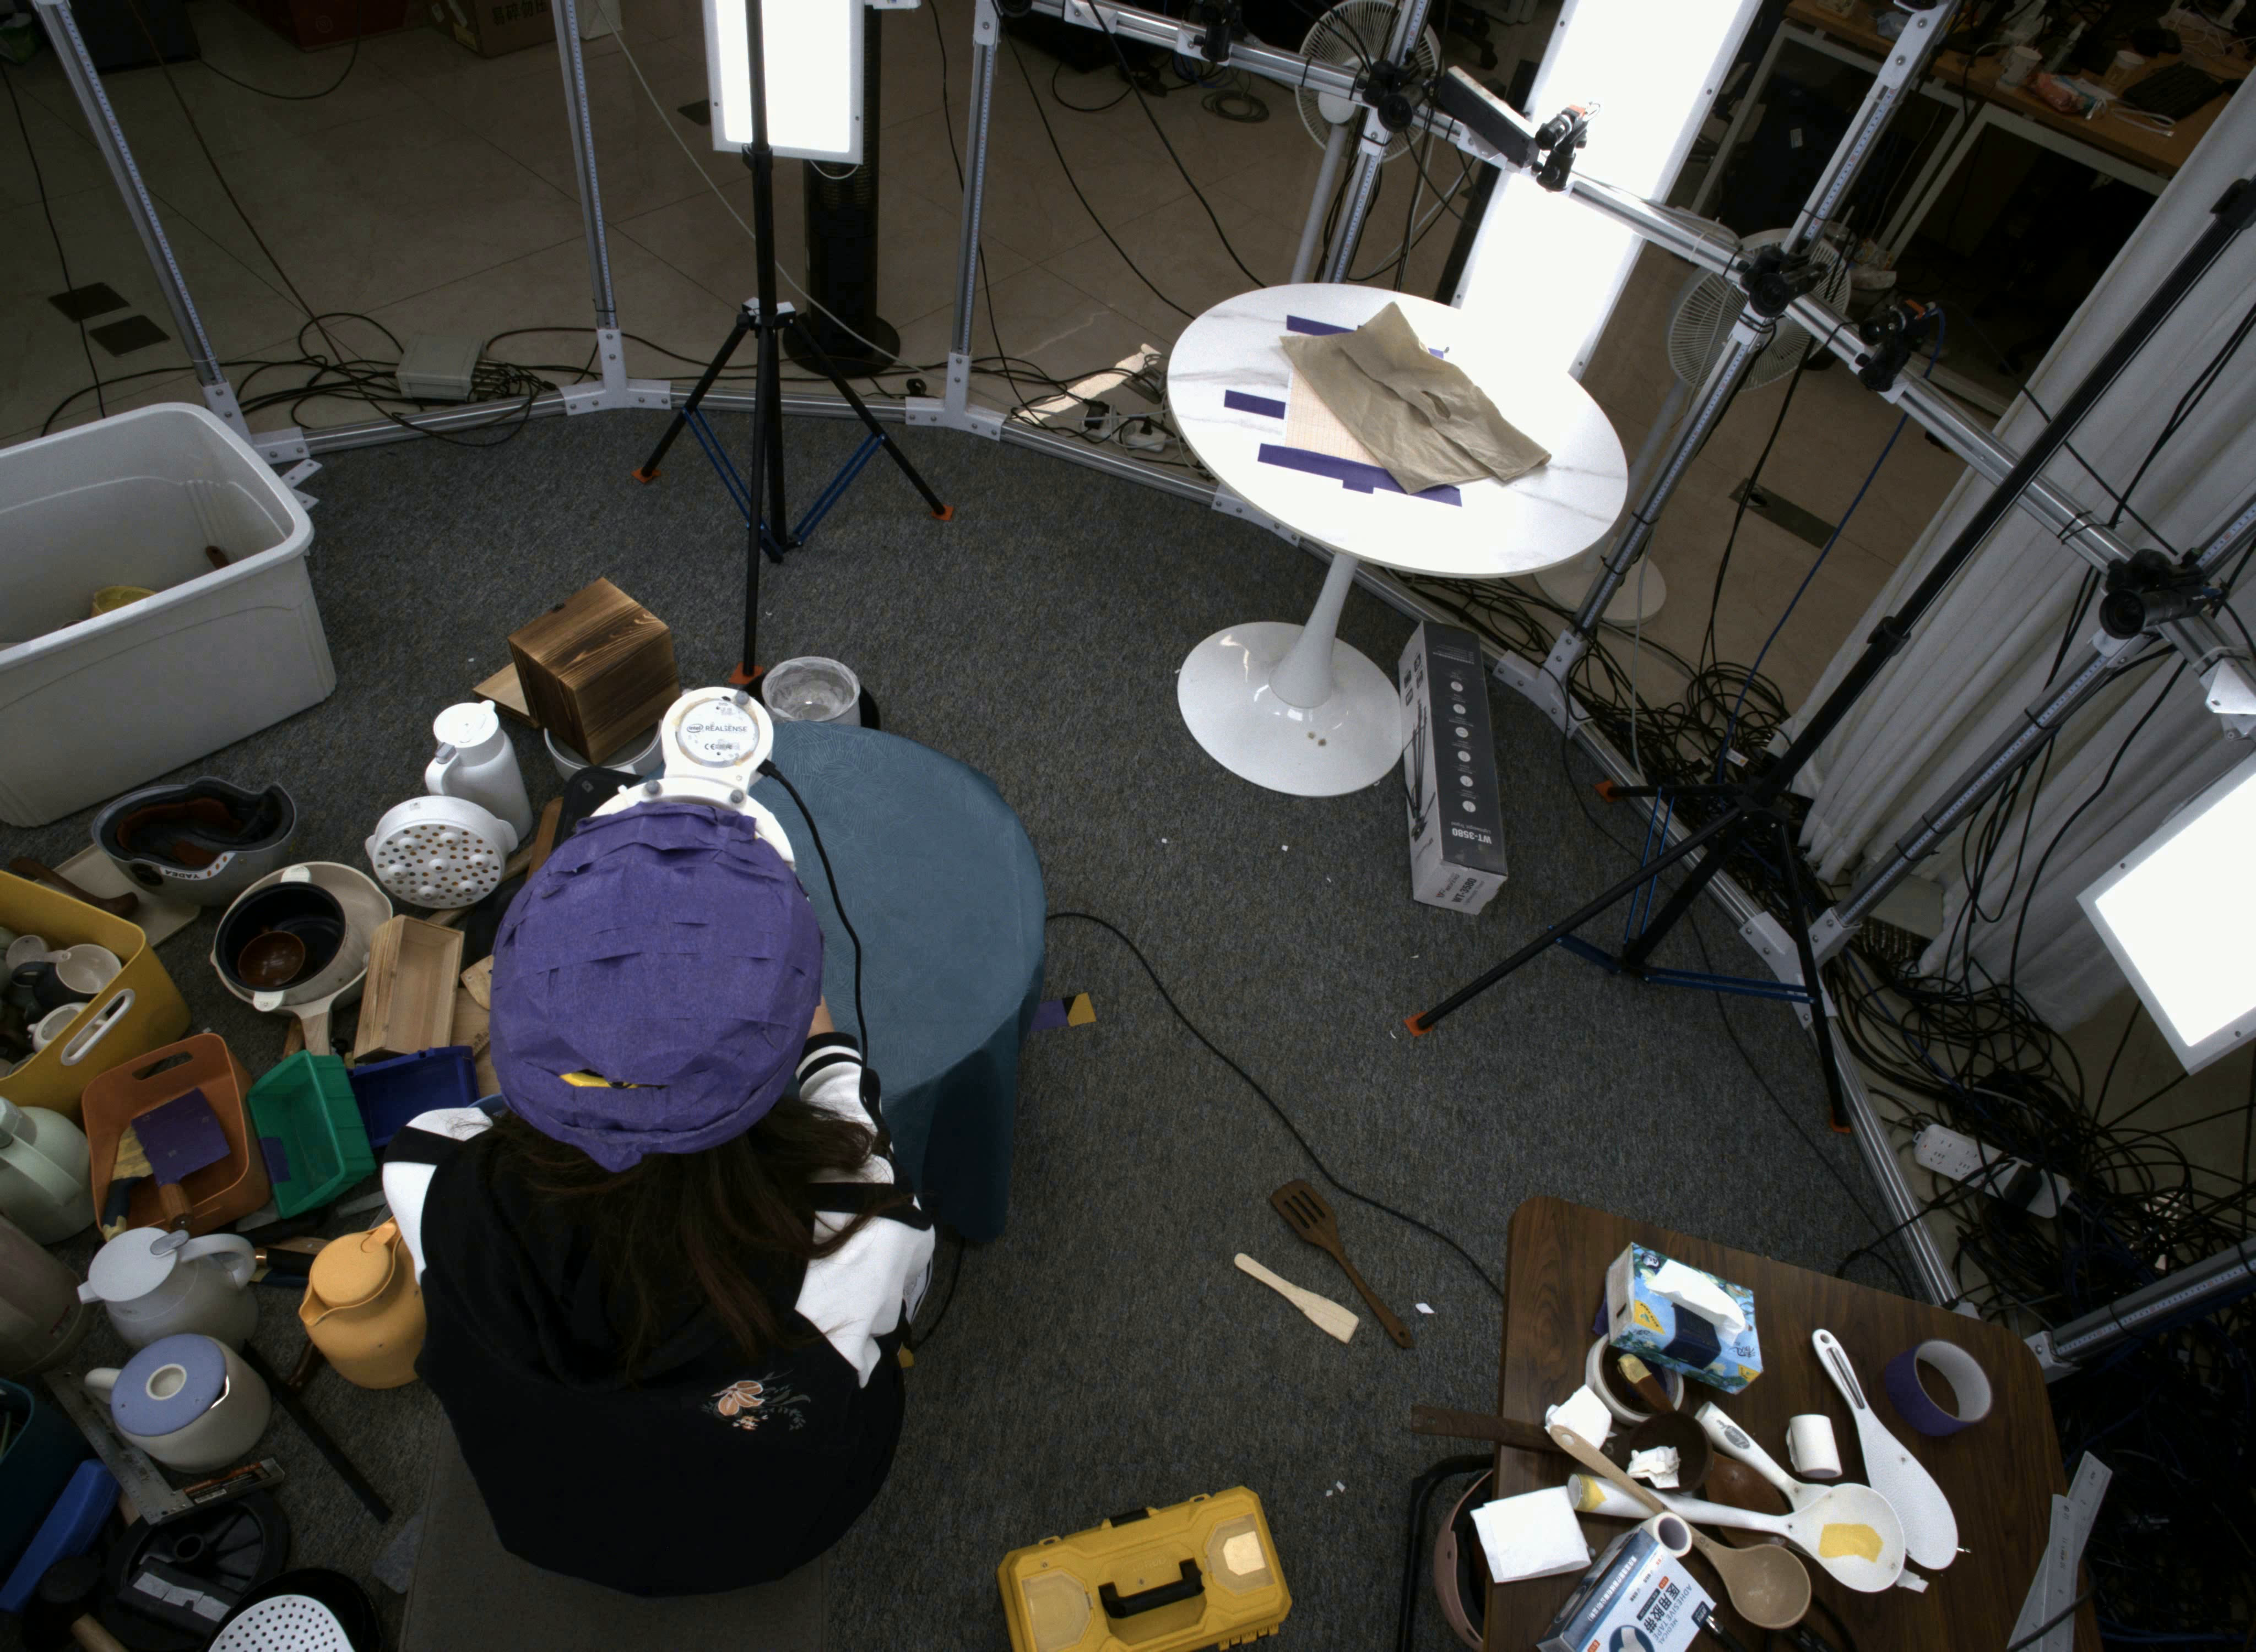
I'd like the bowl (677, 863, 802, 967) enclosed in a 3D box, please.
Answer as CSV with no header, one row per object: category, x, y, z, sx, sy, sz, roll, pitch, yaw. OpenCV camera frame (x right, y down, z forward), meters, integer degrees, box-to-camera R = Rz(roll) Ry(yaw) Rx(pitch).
bowl,-0.475,0.114,1.586,0.151,0.060,0.149,8,52,-8

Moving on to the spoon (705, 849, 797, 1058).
spoon,-0.422,0.141,1.491,0.101,0.061,0.269,-10,48,-21
